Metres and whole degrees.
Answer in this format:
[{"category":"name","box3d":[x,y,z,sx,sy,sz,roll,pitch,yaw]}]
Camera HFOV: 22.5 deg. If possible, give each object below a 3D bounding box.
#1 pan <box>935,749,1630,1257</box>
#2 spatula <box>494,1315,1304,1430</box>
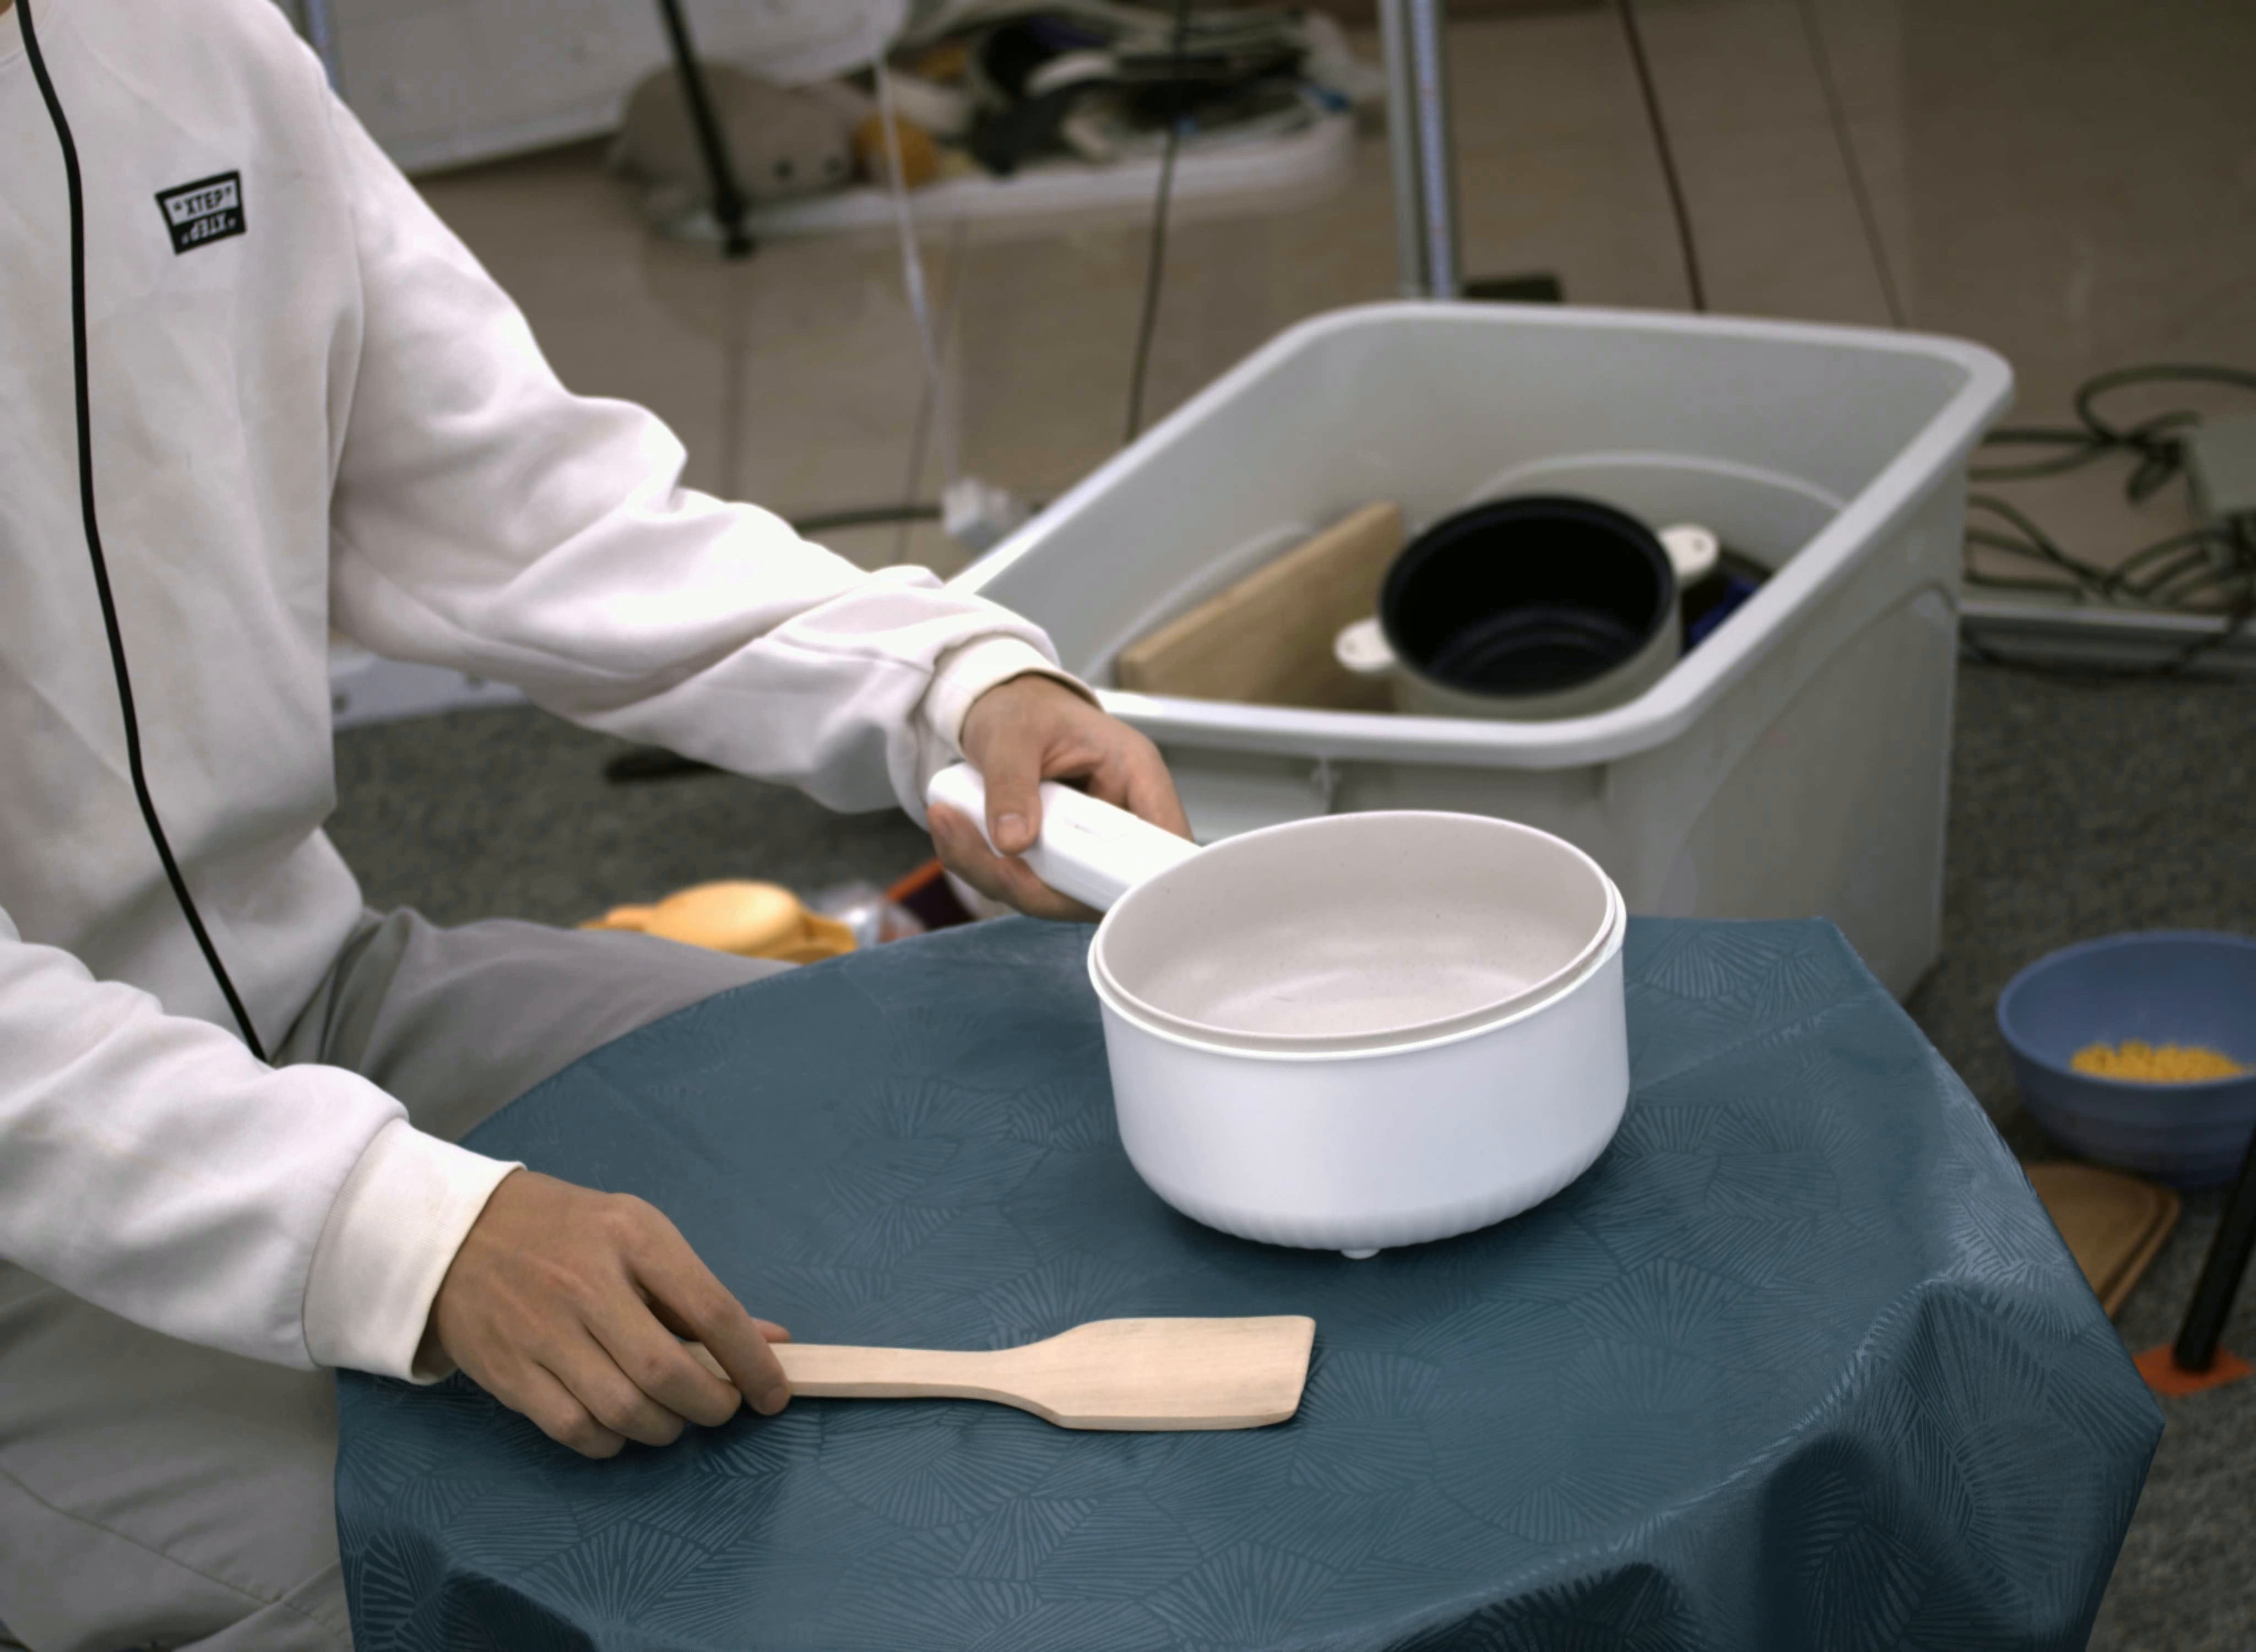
[{"category":"pan","box3d":[0.044,0.061,2.186,0.200,0.103,0.351,-24,28,-31]},{"category":"spatula","box3d":[-0.084,0.194,2.030,0.292,0.011,0.071,0,26,8]}]
